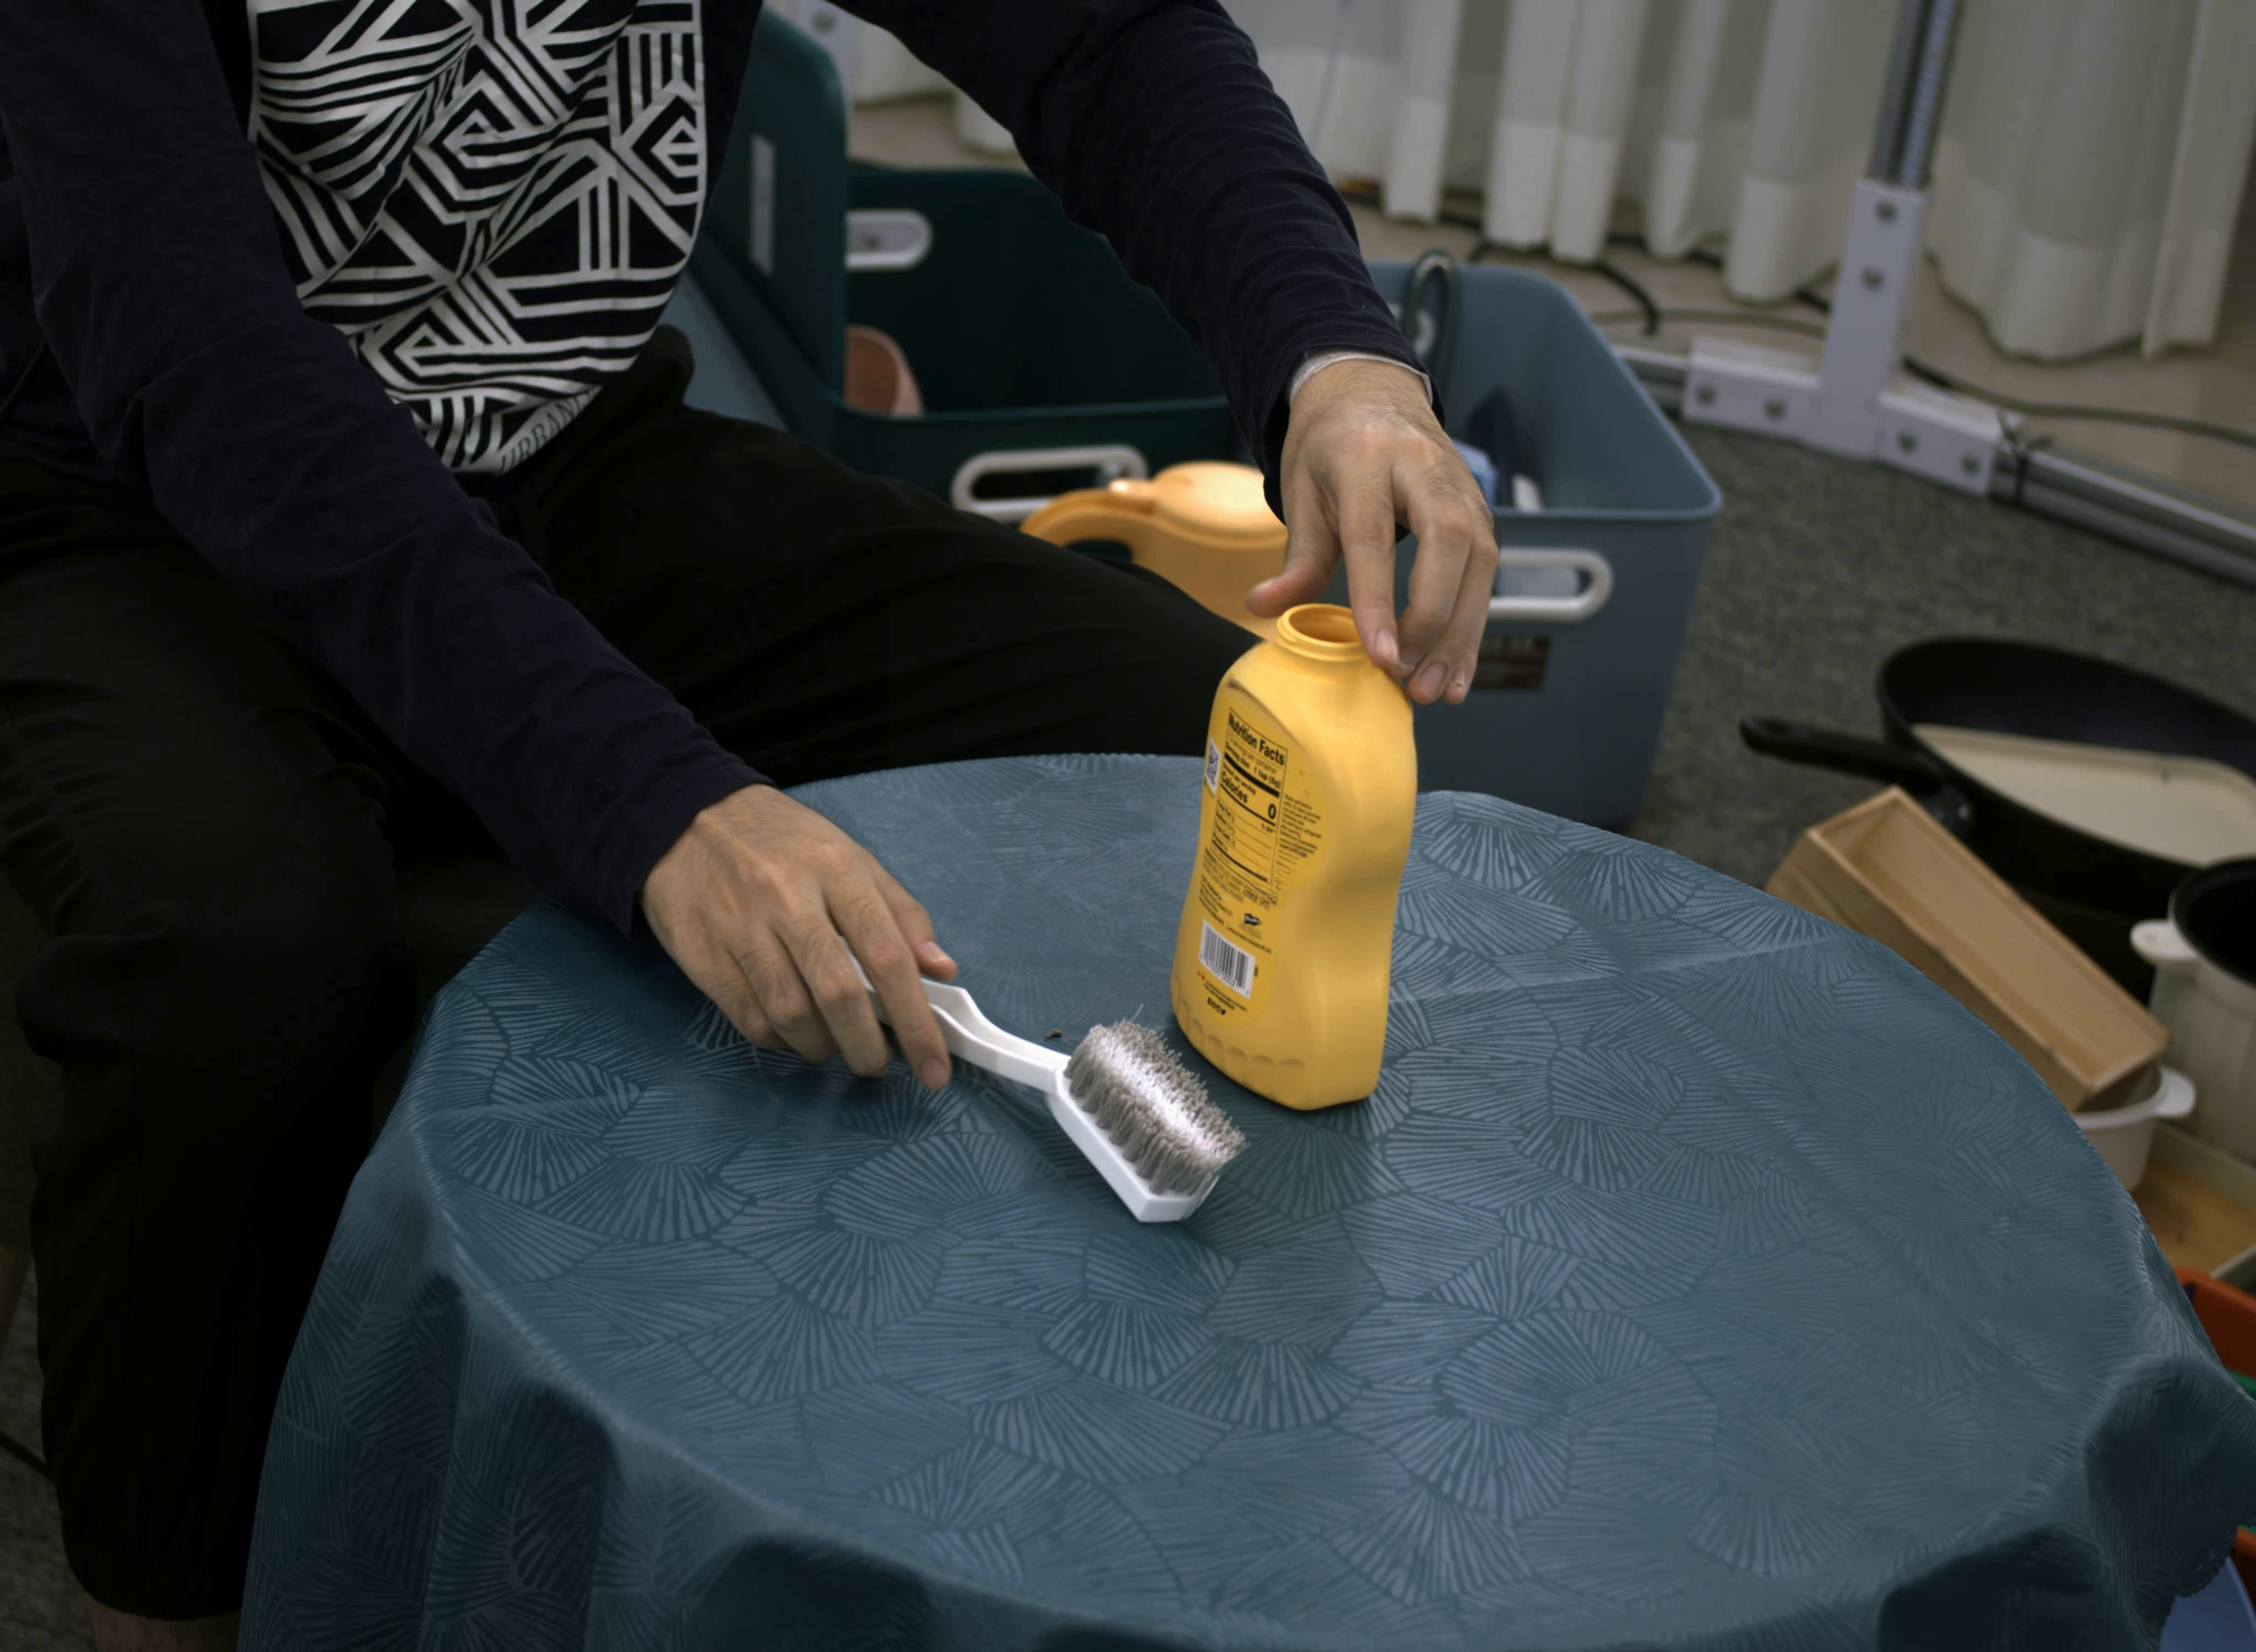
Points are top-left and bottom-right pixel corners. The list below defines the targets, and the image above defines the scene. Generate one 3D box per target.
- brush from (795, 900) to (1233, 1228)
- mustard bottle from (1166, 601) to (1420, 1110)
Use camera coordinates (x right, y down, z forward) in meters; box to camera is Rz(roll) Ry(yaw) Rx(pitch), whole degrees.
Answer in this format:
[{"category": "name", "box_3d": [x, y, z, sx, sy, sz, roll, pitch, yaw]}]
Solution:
[{"category": "brush", "box_3d": [-0.045, 0.066, 1.859, 0.034, 0.050, 0.246, -17, 35, -31]}, {"category": "mustard bottle", "box_3d": [0.060, 0.005, 1.864, 0.059, 0.171, 0.099, -10, 29, -35]}]
